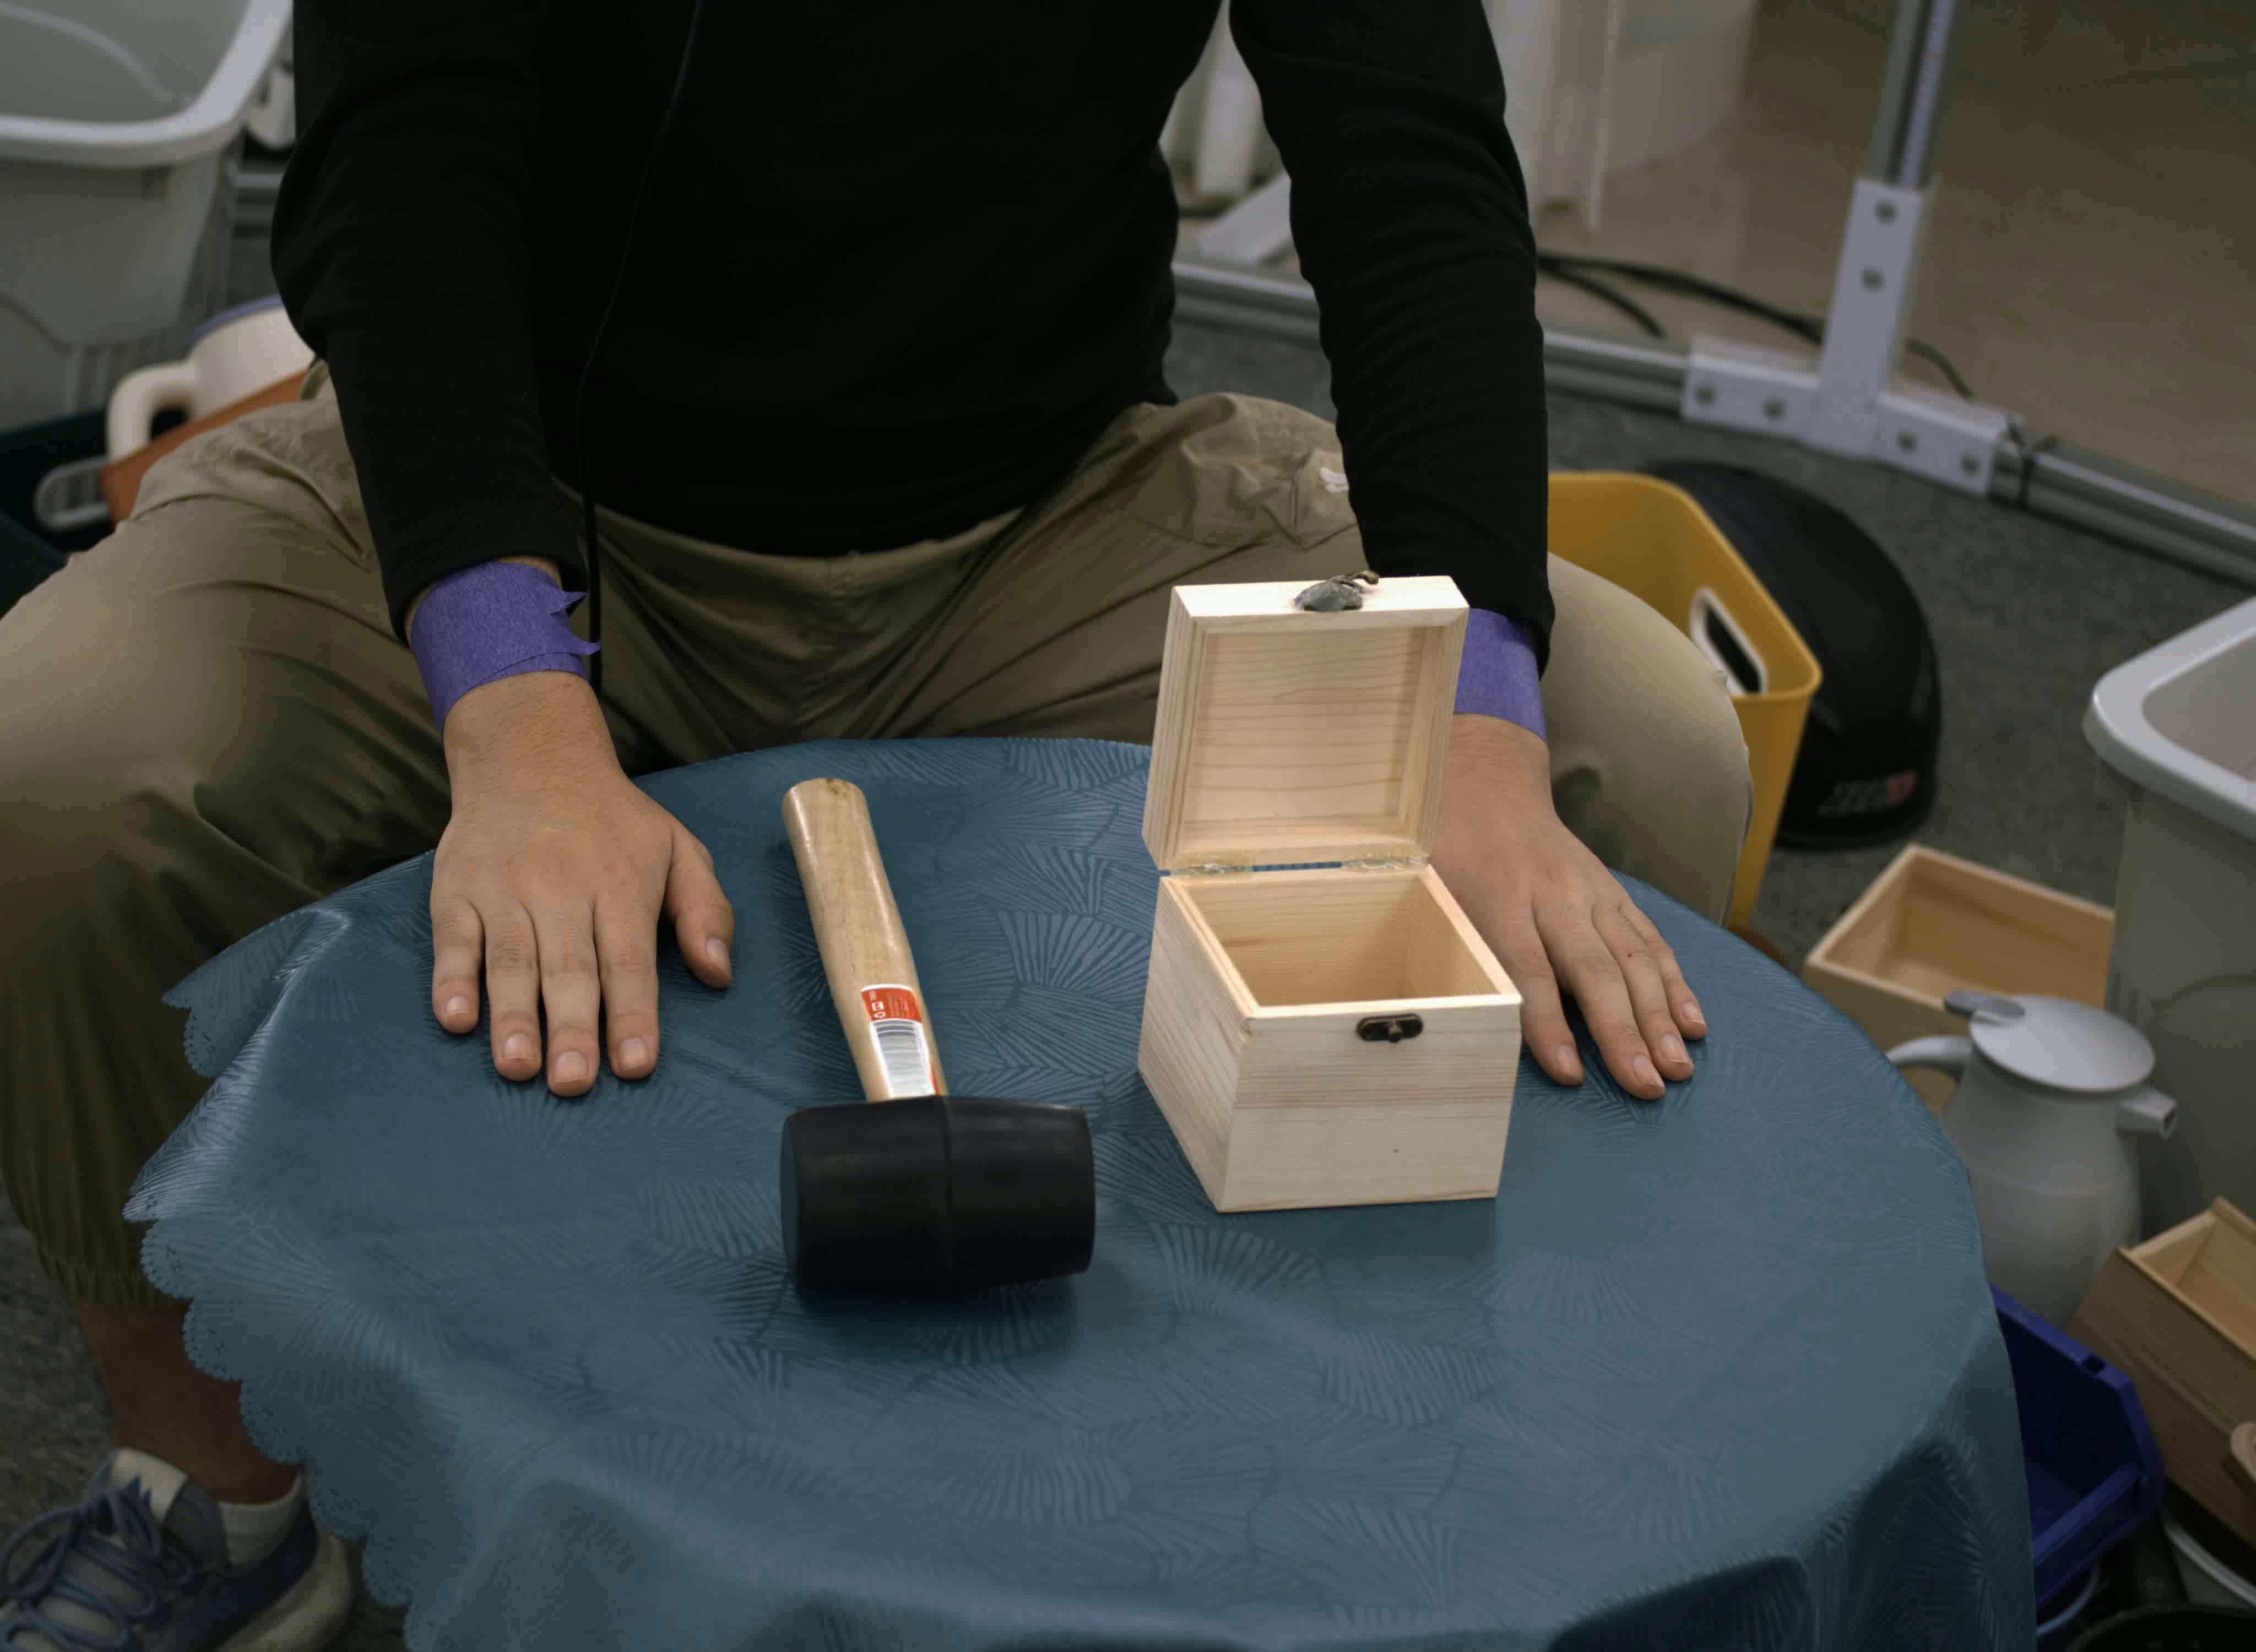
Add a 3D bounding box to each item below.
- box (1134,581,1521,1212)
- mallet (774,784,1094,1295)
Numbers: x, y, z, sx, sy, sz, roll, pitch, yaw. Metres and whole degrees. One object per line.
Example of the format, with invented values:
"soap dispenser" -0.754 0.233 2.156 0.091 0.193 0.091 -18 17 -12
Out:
"box" 0.071 0.022 1.822 0.102 0.184 0.135 -1 25 -17
"mallet" -0.084 0.057 1.851 0.101 0.064 0.341 3 26 -10
